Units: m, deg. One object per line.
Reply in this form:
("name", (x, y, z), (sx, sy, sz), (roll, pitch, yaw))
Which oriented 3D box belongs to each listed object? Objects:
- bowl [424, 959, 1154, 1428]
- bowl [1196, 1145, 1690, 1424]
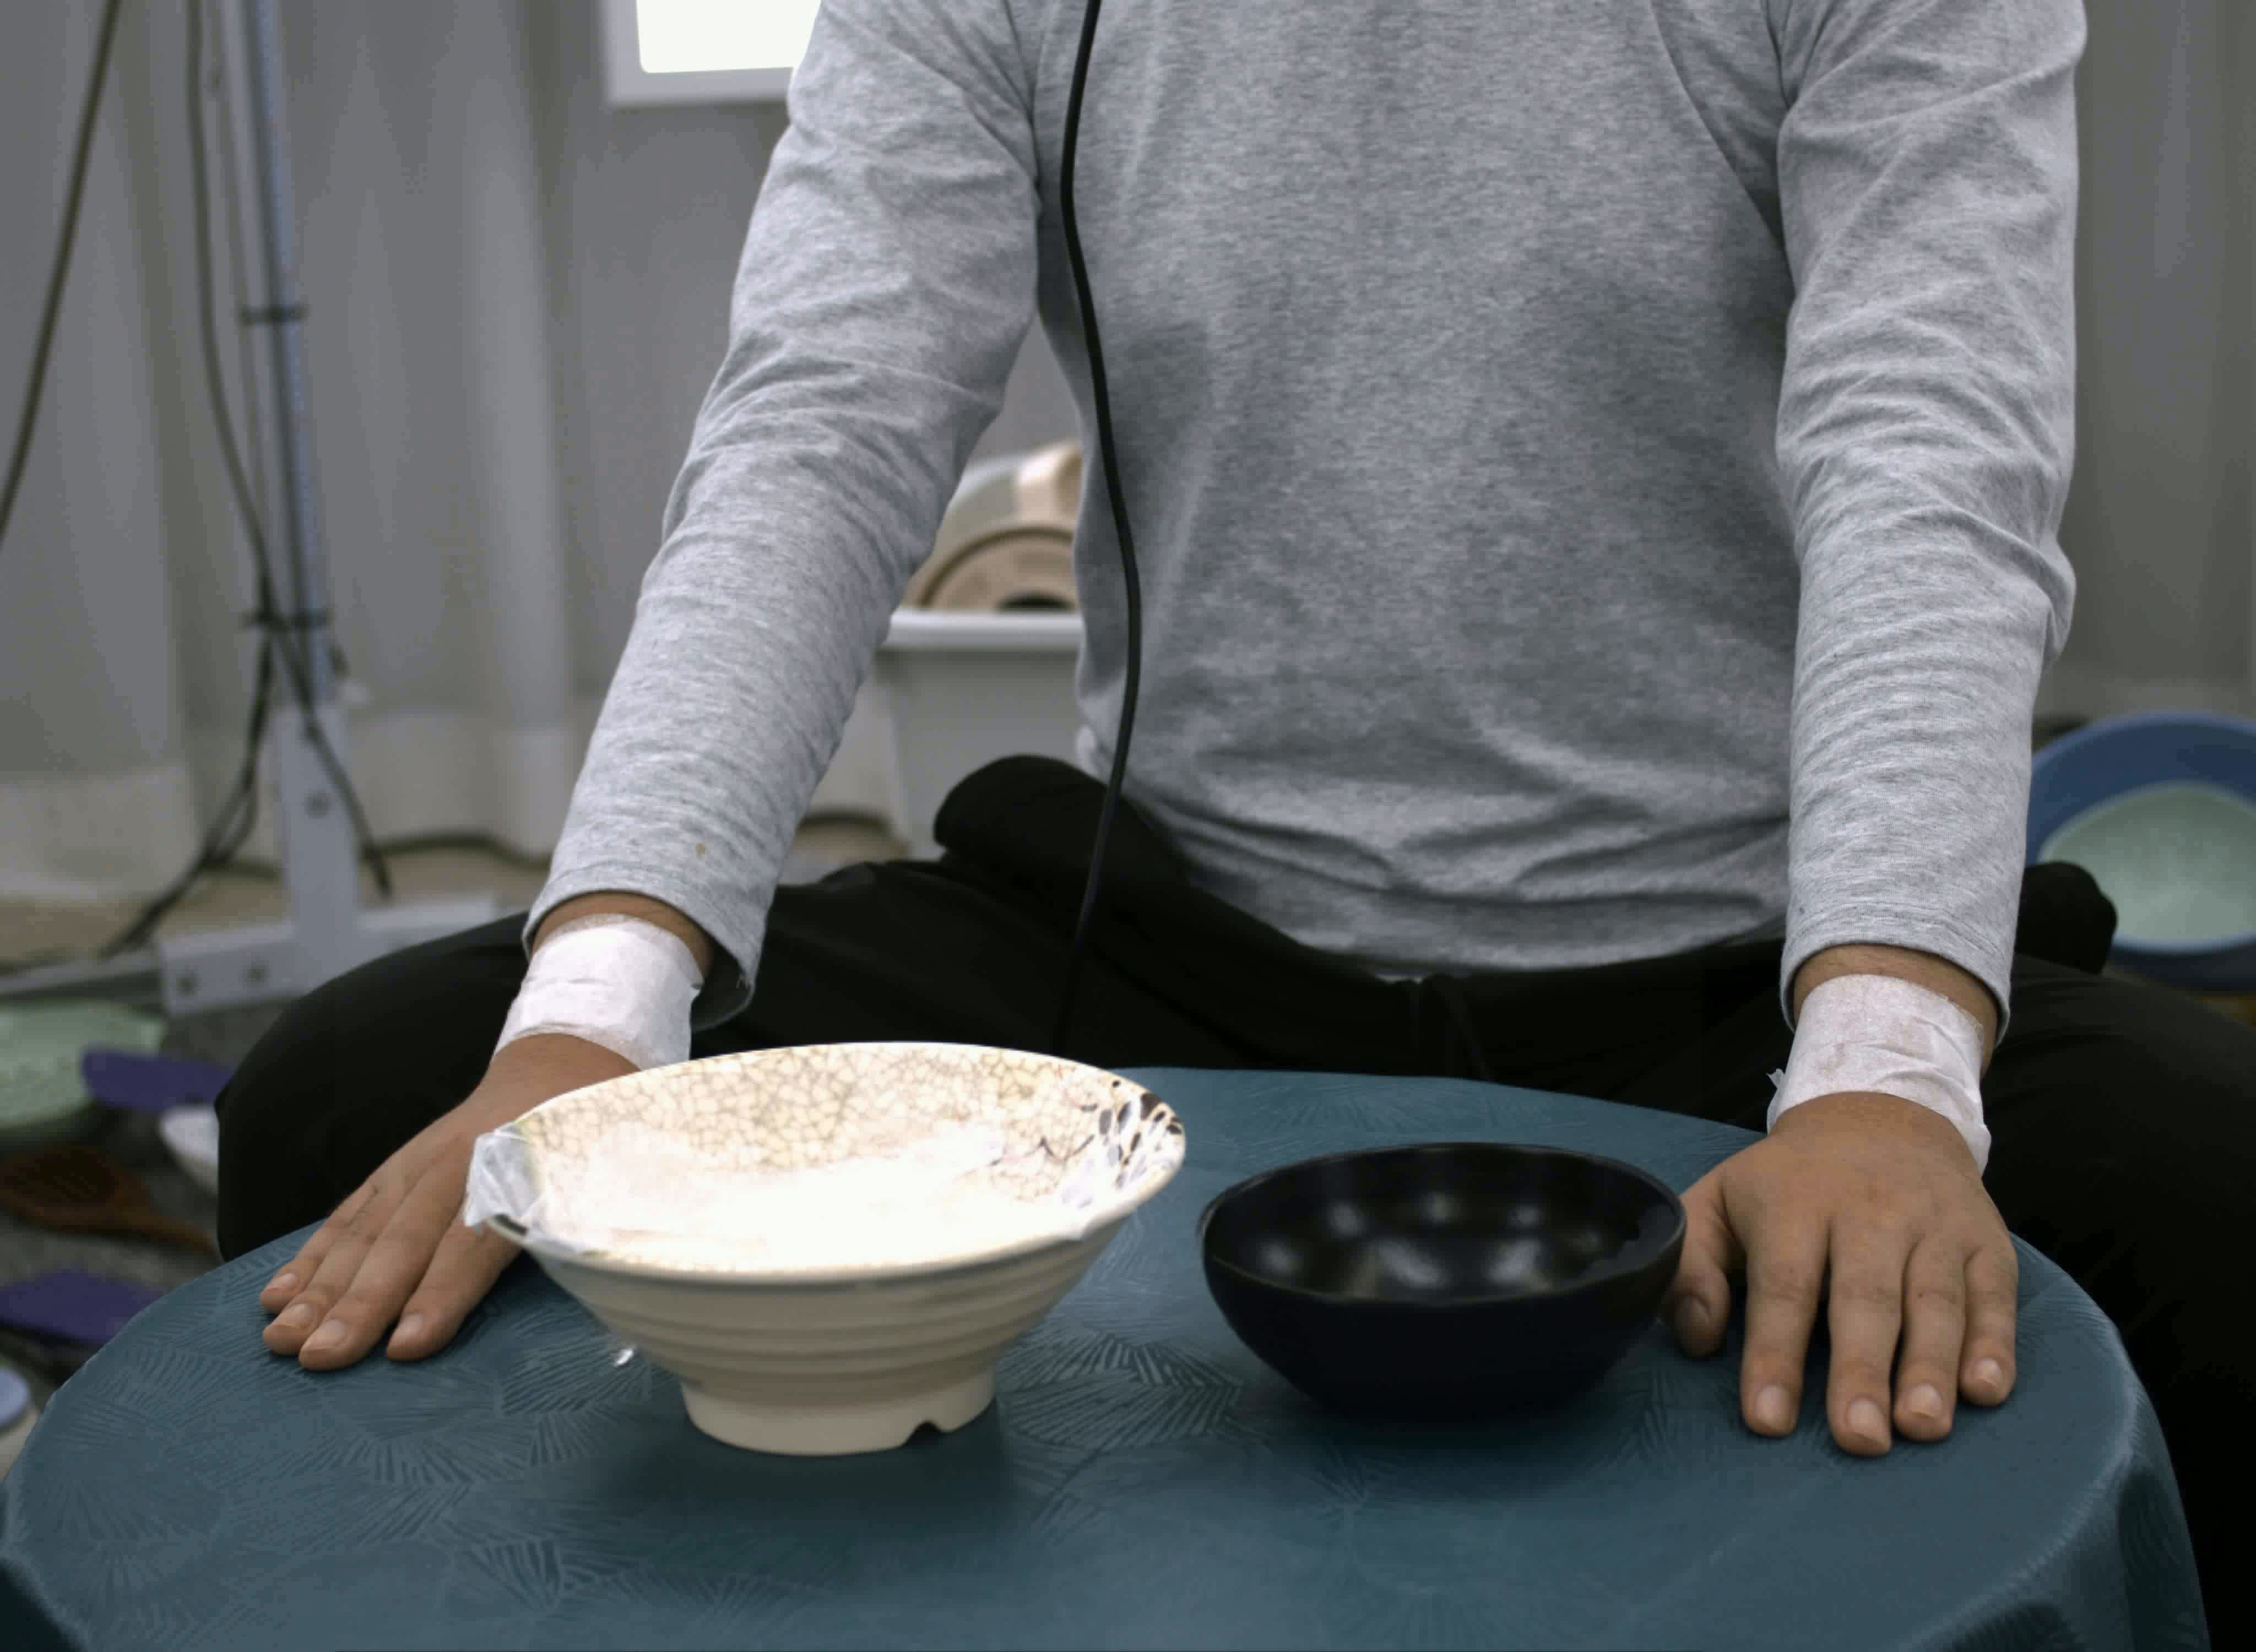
("bowl", (-0.093, 0.114, 1.536), (0.203, 0.077, 0.206), (-2, 23, 1))
("bowl", (0.088, 0.133, 1.536), (0.139, 0.049, 0.141), (0, 14, 0))
